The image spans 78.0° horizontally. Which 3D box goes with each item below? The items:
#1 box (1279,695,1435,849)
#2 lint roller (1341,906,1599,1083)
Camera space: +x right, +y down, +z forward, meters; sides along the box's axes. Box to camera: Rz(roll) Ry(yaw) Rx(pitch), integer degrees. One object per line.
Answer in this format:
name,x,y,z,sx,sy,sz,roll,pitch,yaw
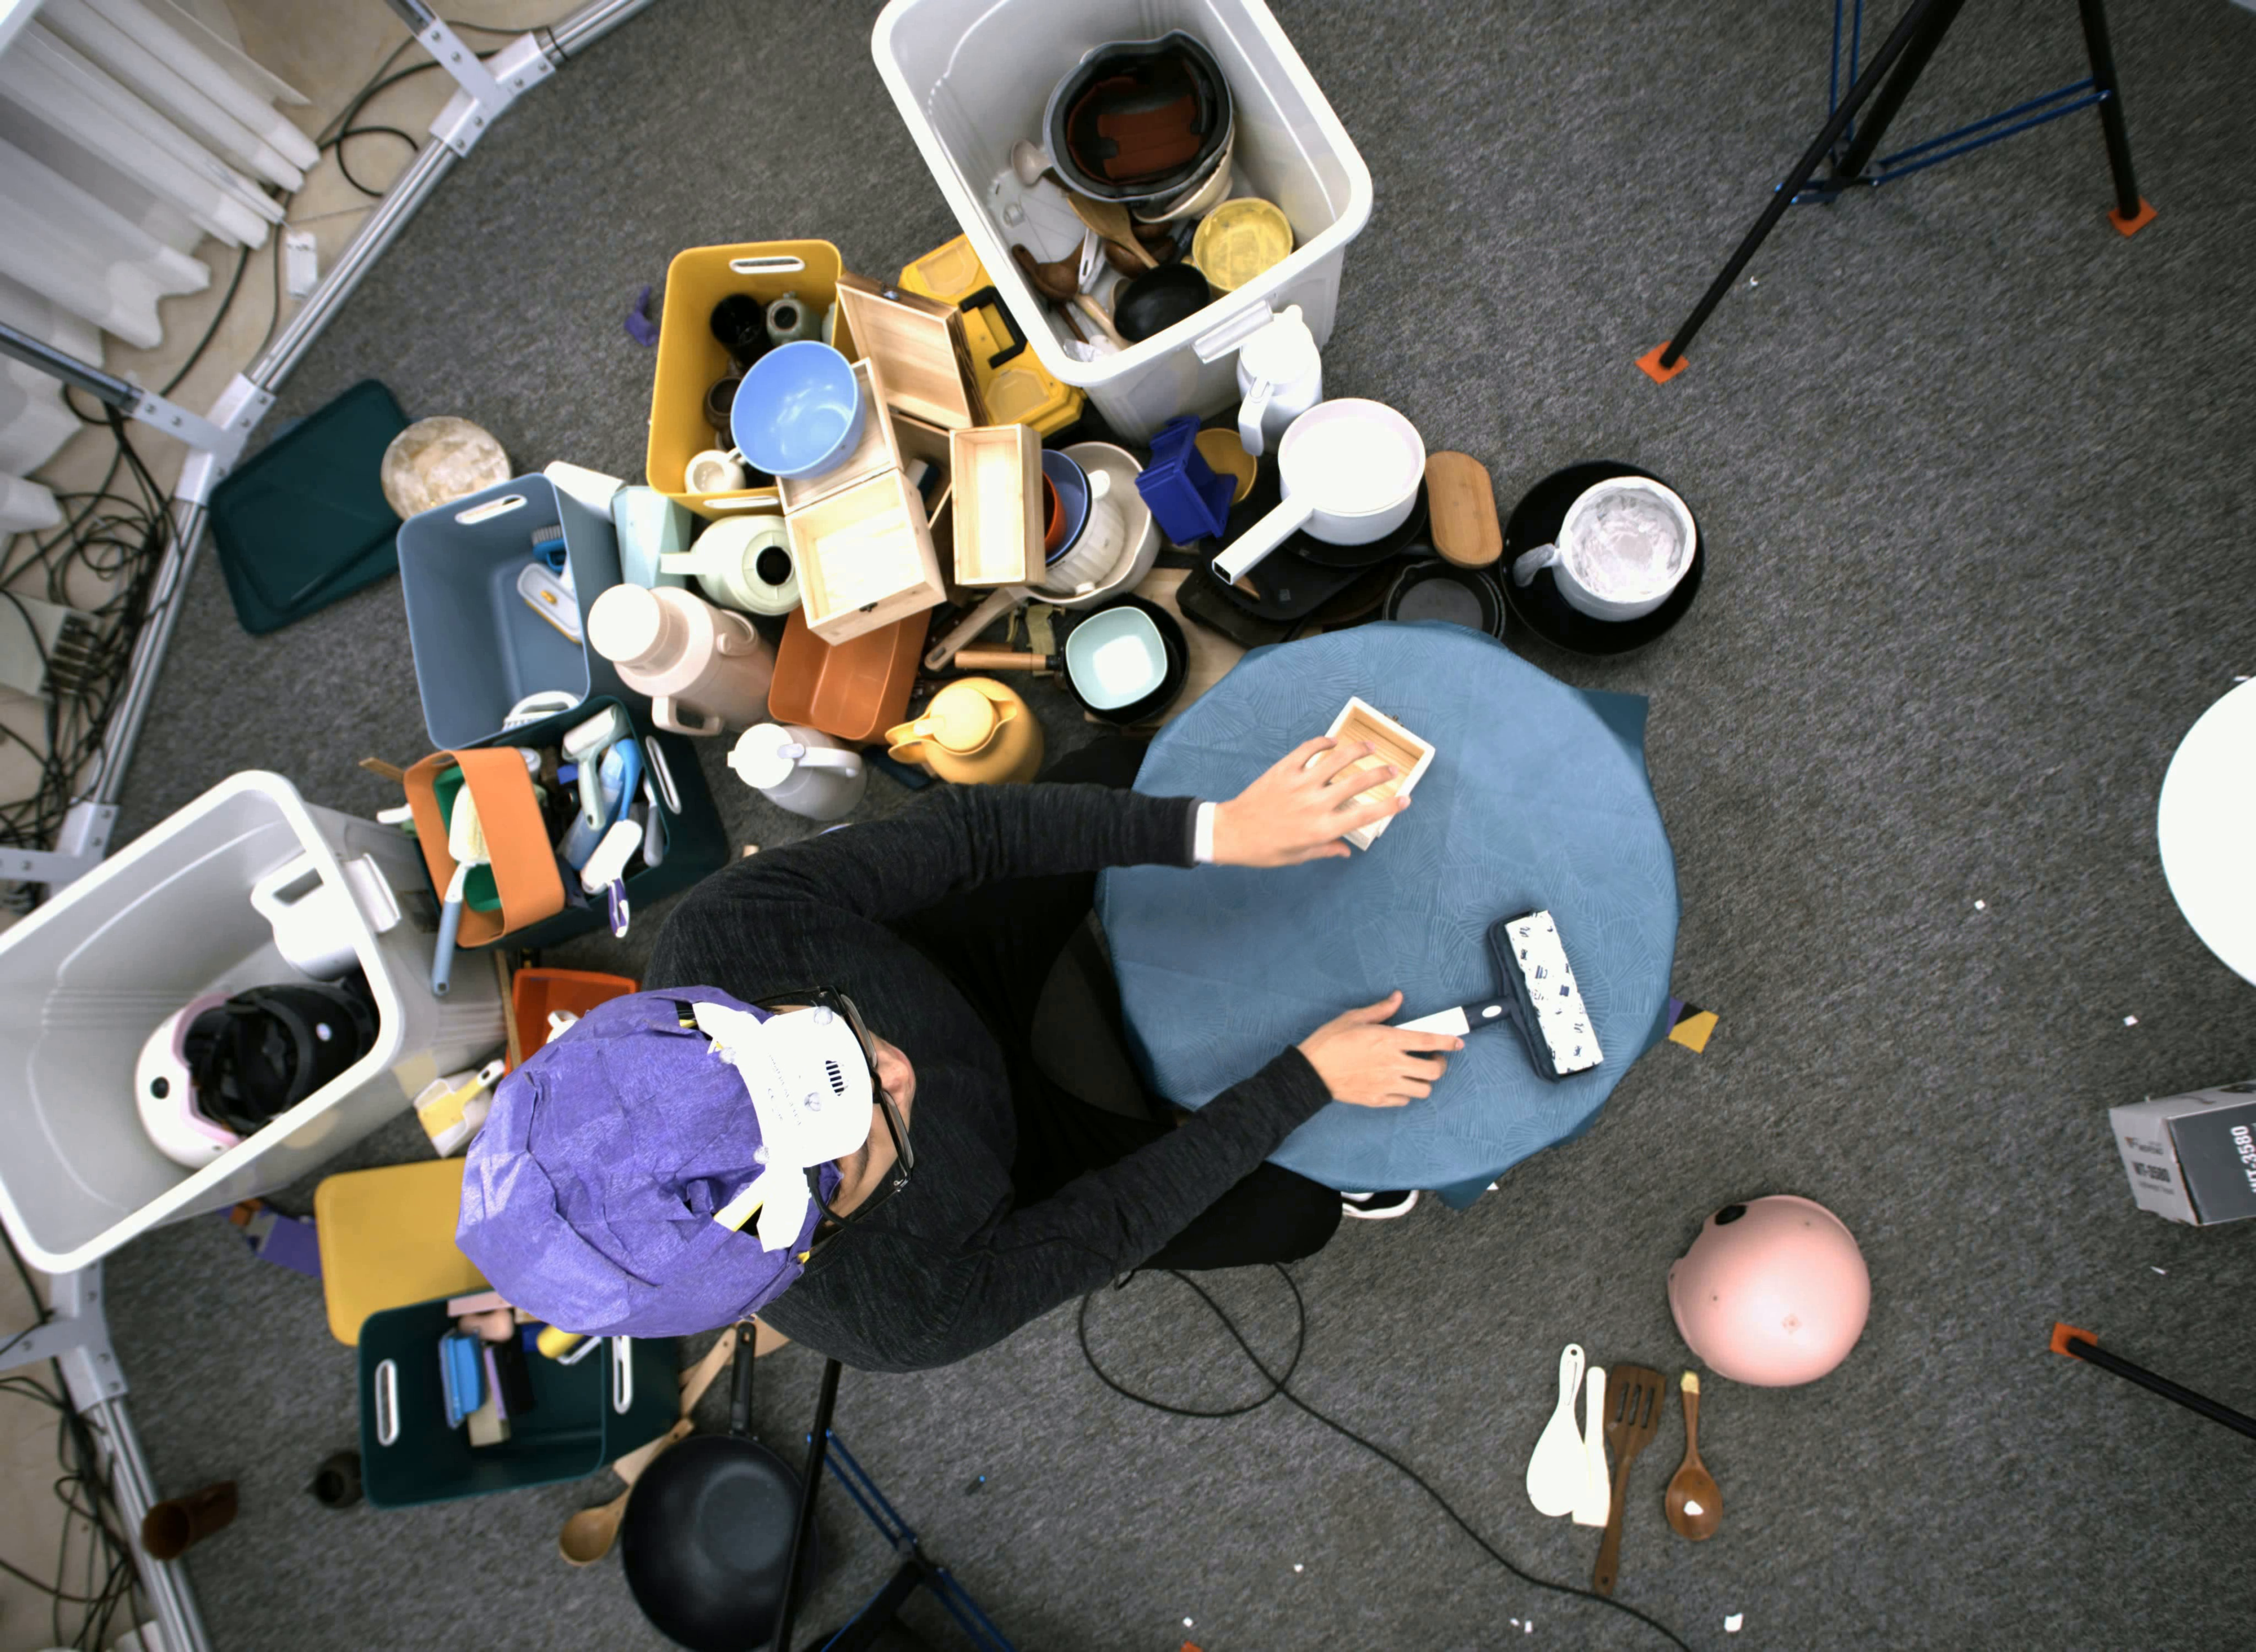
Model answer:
box,0.233,-0.060,1.382,0.102,0.184,0.134,35,92,12
lint roller,0.339,0.201,1.418,0.248,0.050,0.175,-20,84,9
